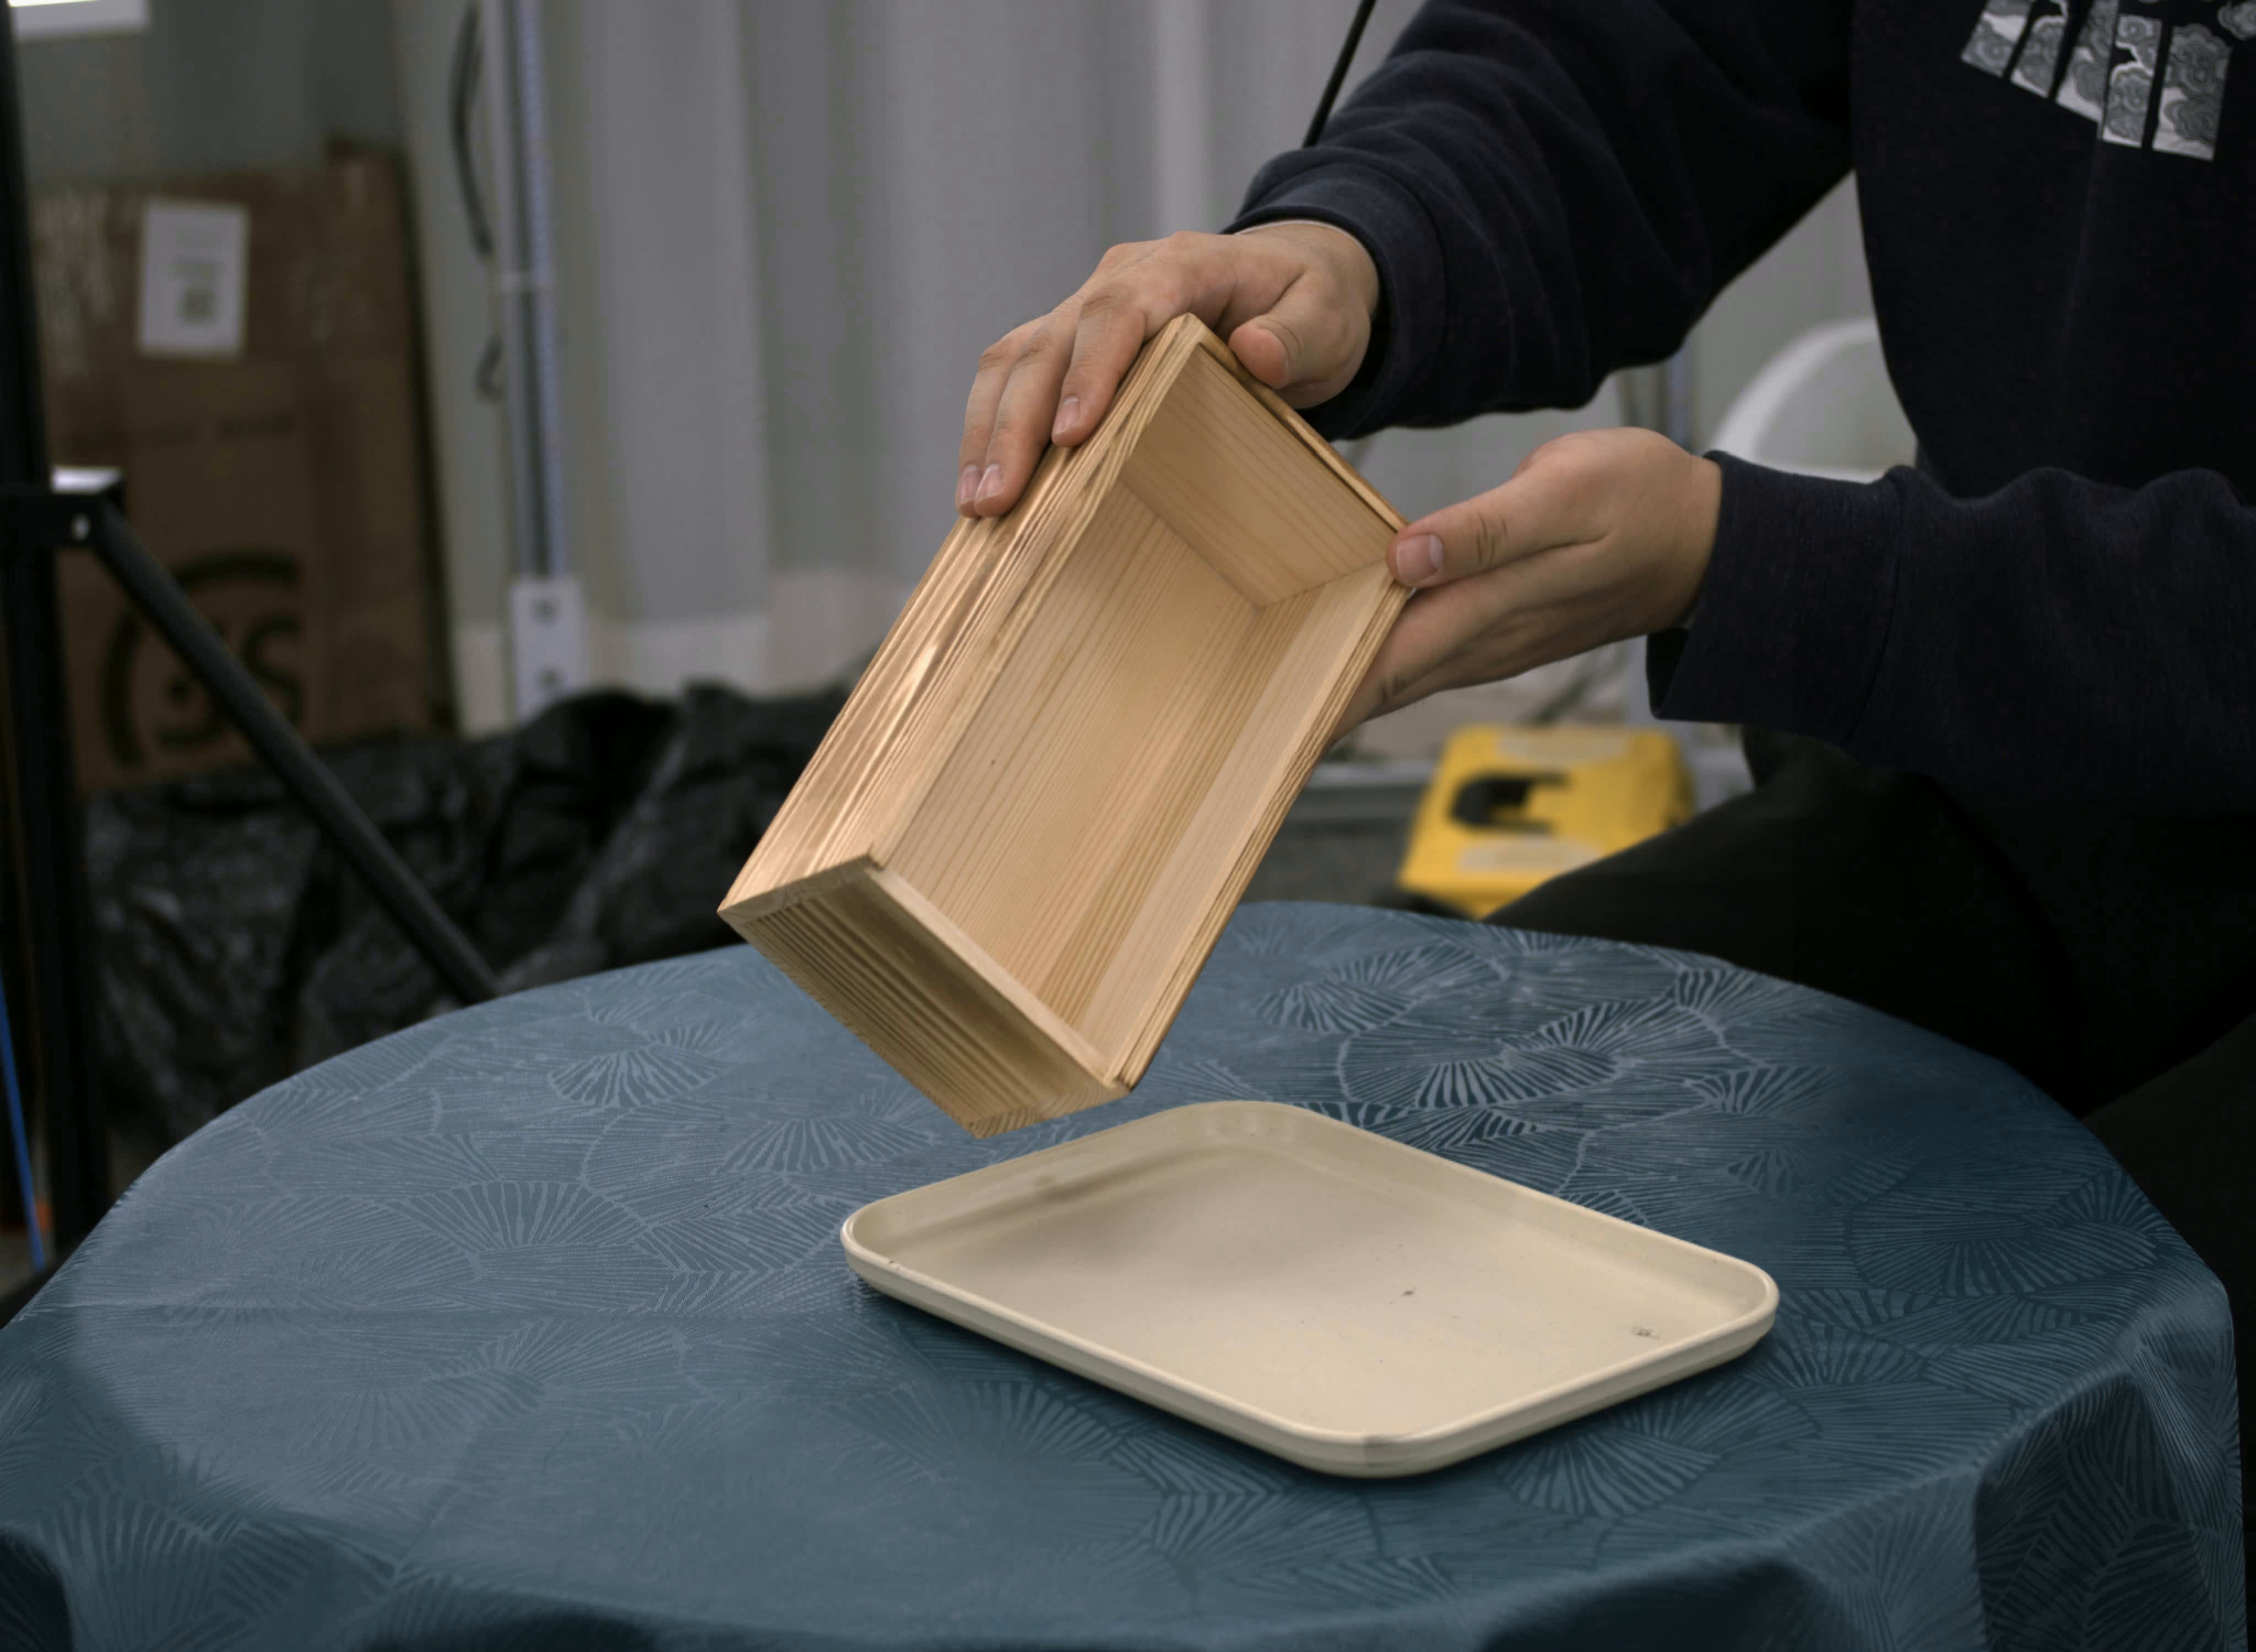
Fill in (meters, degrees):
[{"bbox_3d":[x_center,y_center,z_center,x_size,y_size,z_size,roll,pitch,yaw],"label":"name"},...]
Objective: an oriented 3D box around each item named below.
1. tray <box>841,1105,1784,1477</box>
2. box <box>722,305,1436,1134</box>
[{"bbox_3d":[0.048,0.126,1.456,0.167,0.017,0.245,-14,19,-37],"label":"tray"},{"bbox_3d":[-0.011,-0.031,1.530,0.081,0.106,0.211,-23,32,53],"label":"box"}]
